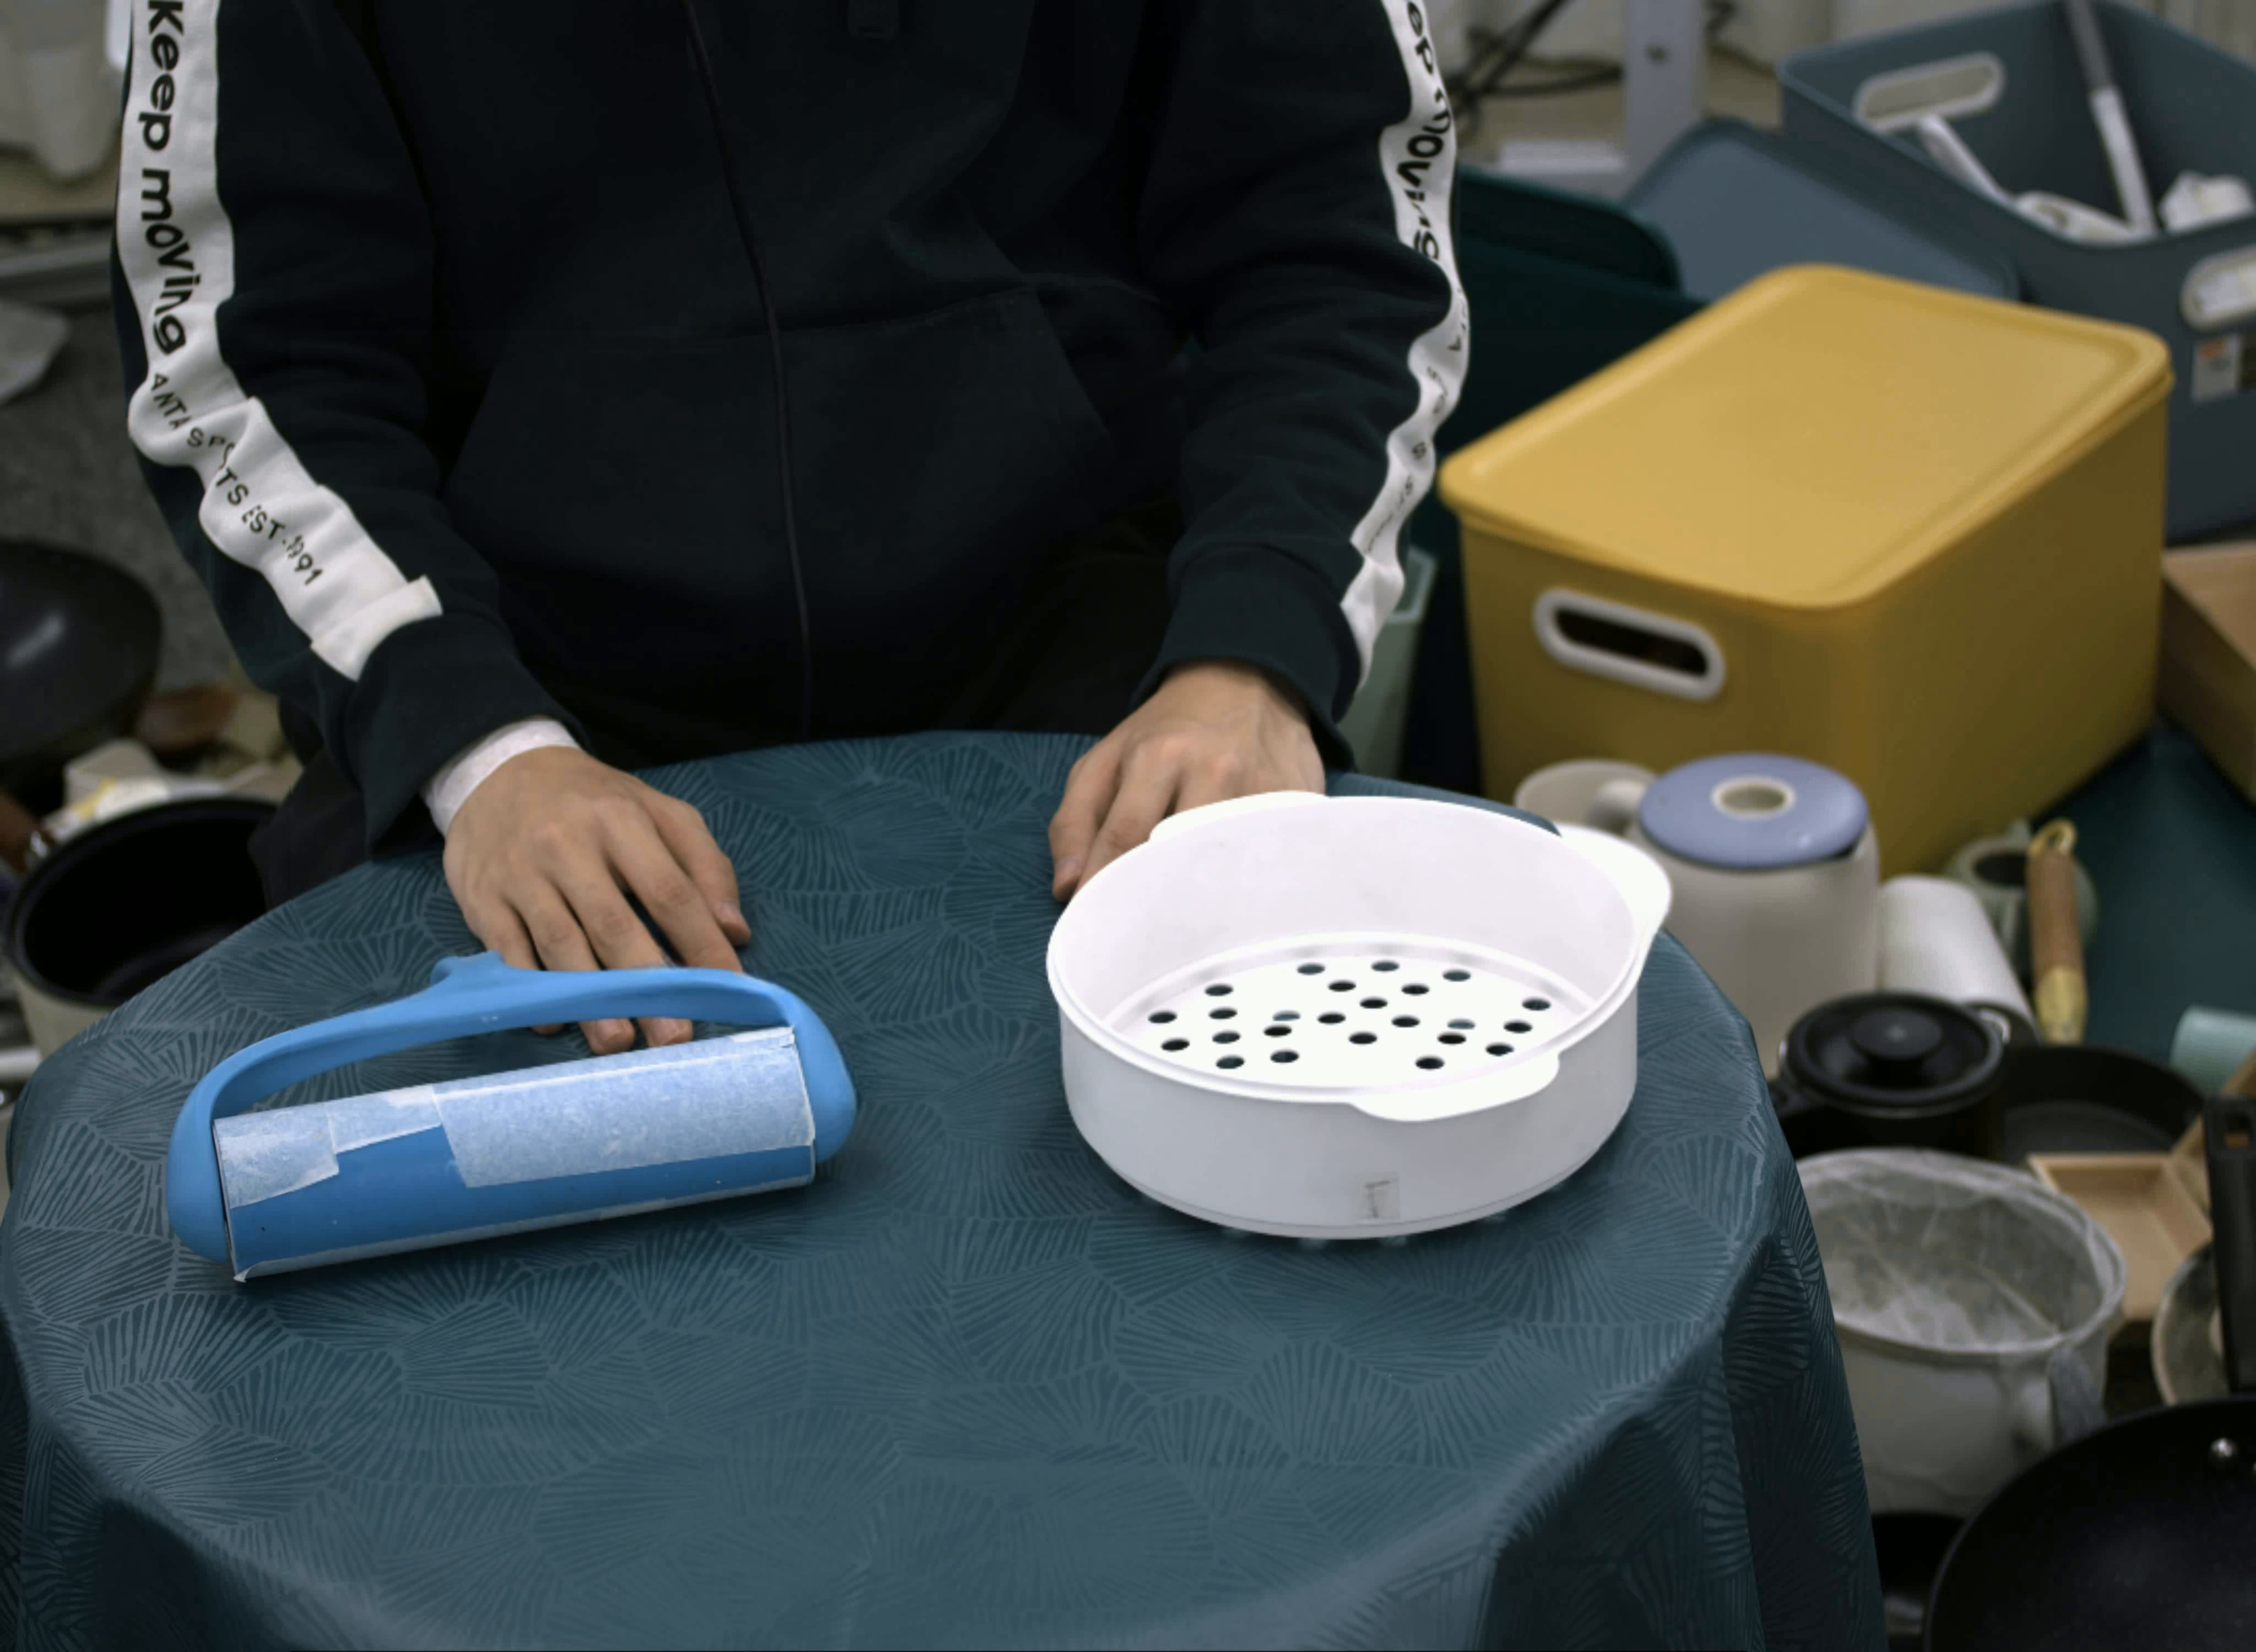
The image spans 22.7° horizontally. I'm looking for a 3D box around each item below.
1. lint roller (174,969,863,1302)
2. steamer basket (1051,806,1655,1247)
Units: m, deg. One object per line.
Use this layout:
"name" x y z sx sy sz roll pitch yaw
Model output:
"lint roller" -0.217 0.084 1.896 0.229 0.067 0.182 -13 30 -14
"steamer basket" 0.076 0.068 1.883 0.202 0.068 0.232 -11 27 -17
